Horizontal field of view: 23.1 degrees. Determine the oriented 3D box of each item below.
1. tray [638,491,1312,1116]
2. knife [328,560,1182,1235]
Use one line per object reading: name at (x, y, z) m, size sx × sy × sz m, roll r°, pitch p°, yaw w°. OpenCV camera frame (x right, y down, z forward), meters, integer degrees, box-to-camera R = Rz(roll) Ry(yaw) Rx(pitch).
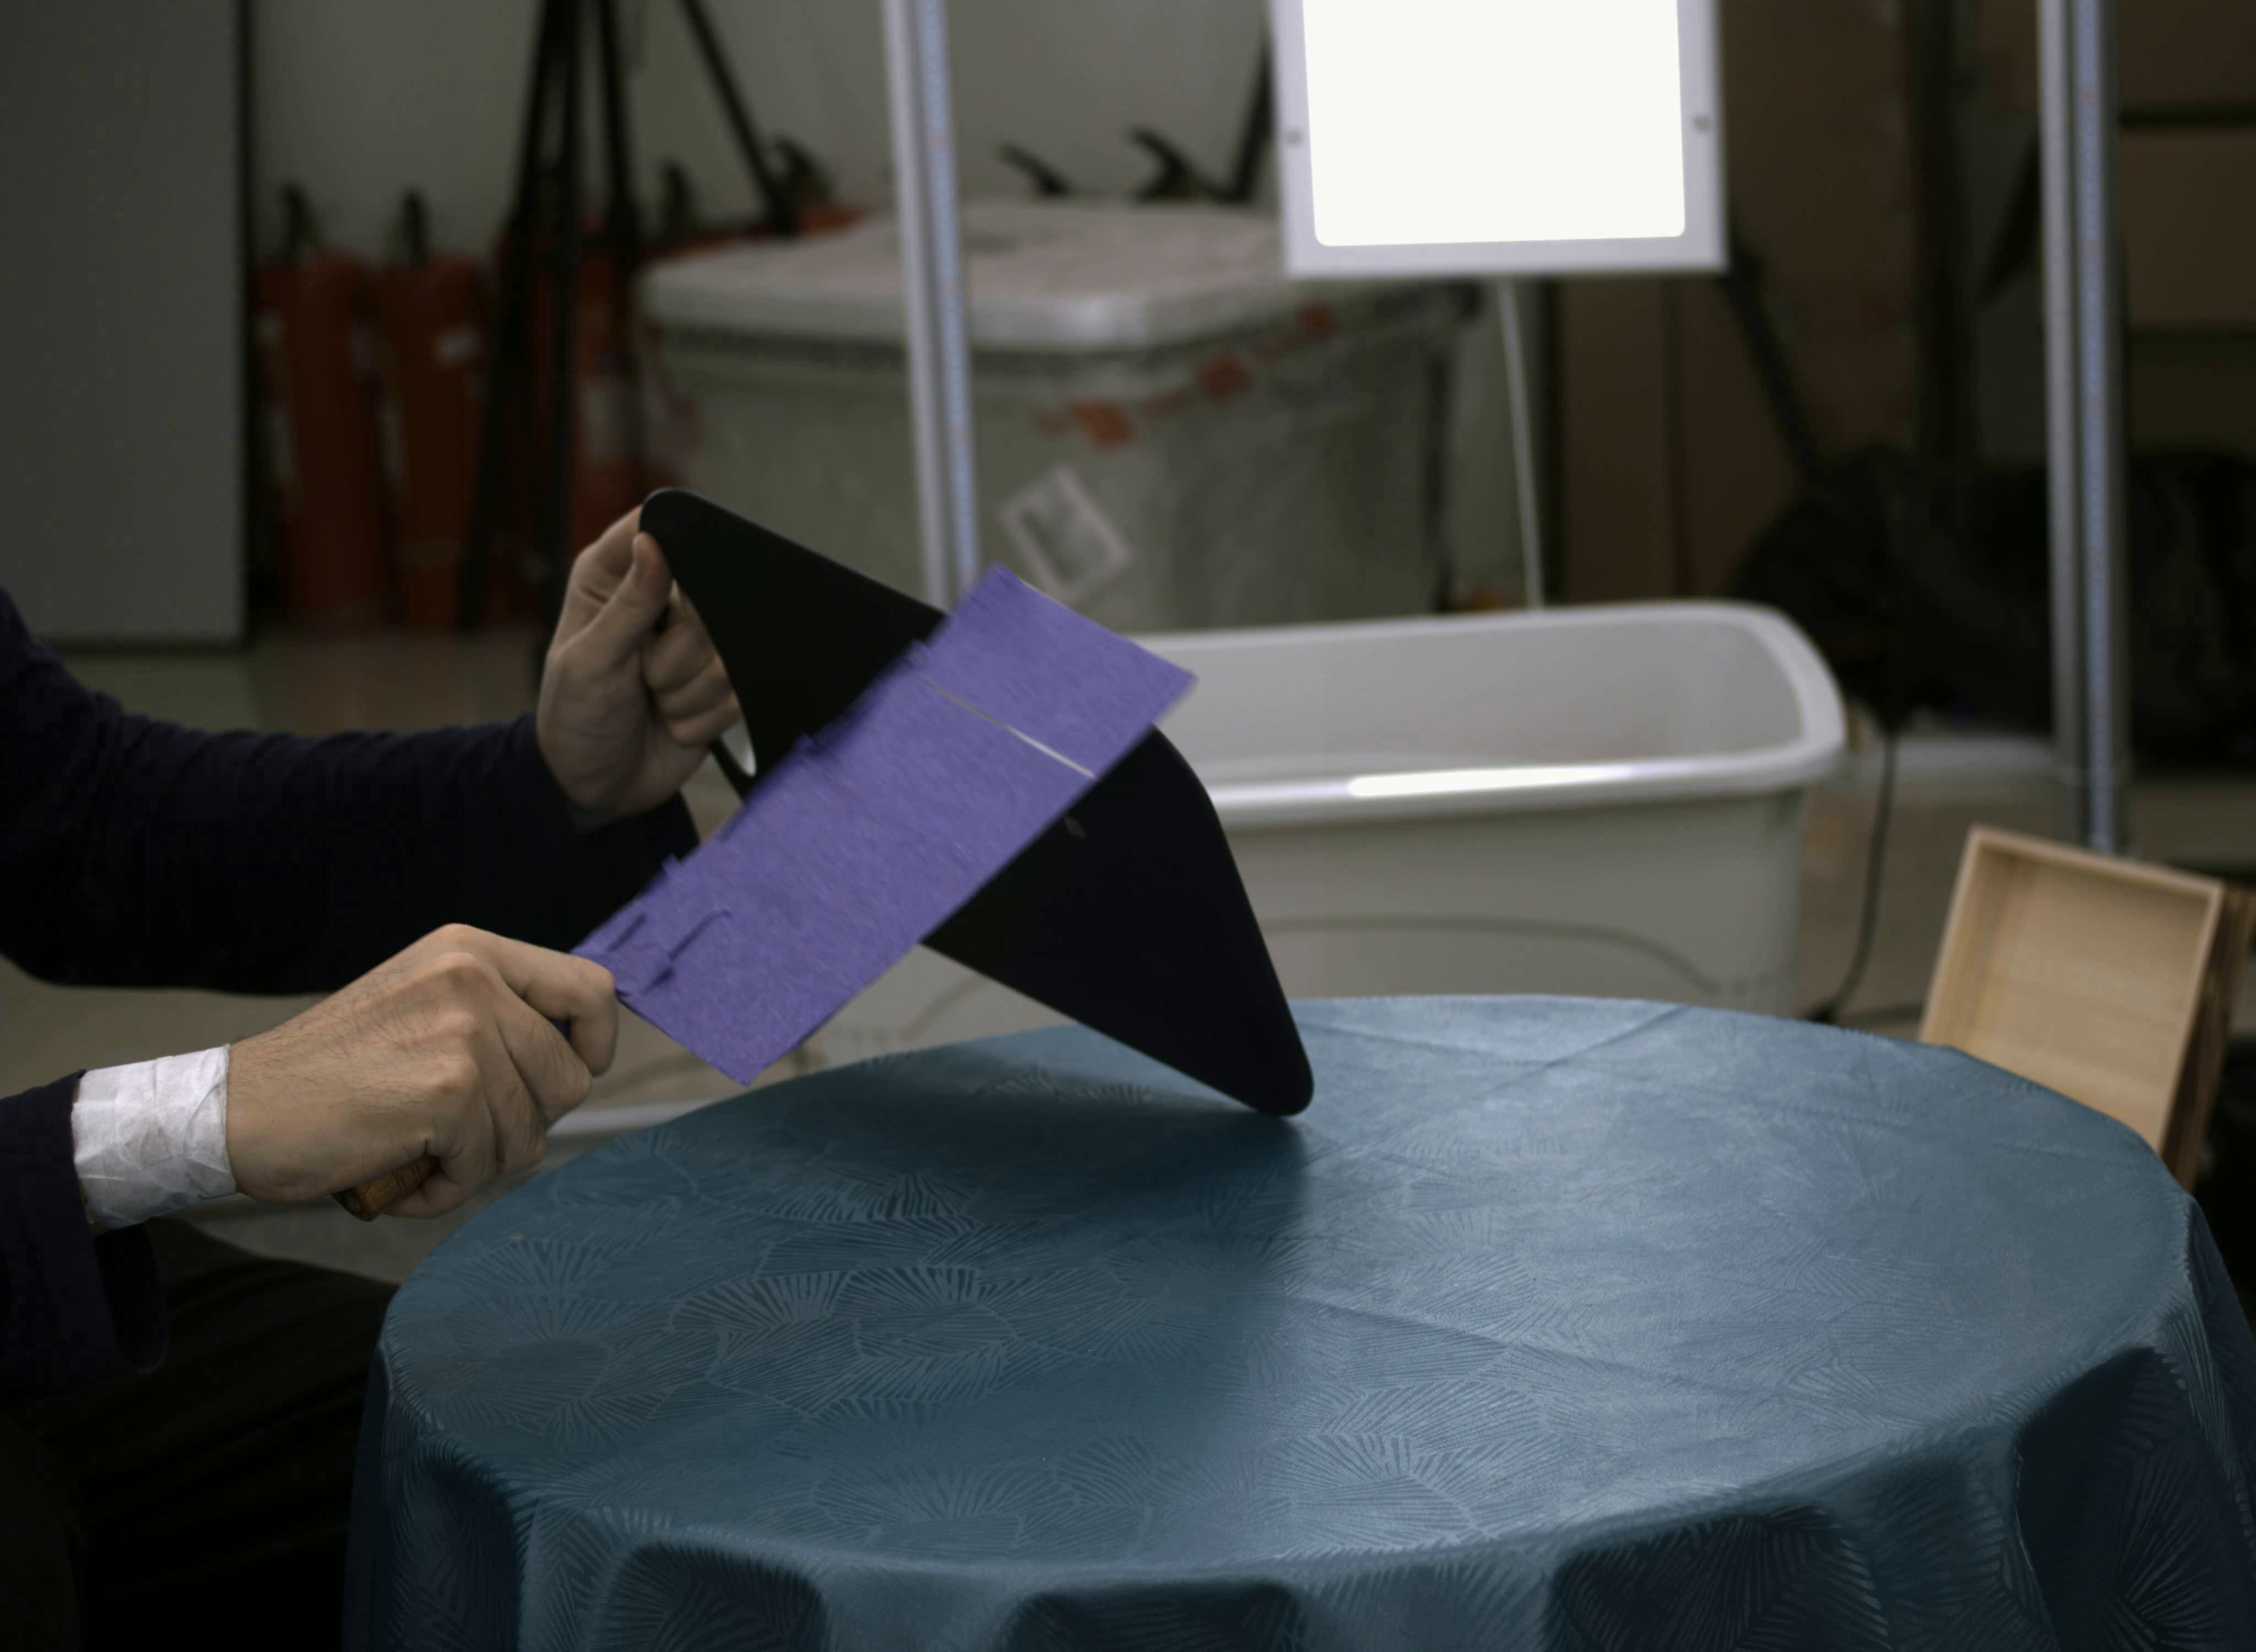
tray at (-0.063, -0.014, 2.001) m, size 0.009 × 0.210 × 0.331 m, roll -41°, pitch 42°, yaw -23°
knife at (-0.113, 0.029, 1.749) m, size 0.311 × 0.032 × 0.105 m, roll -44°, pitch 48°, yaw -18°
